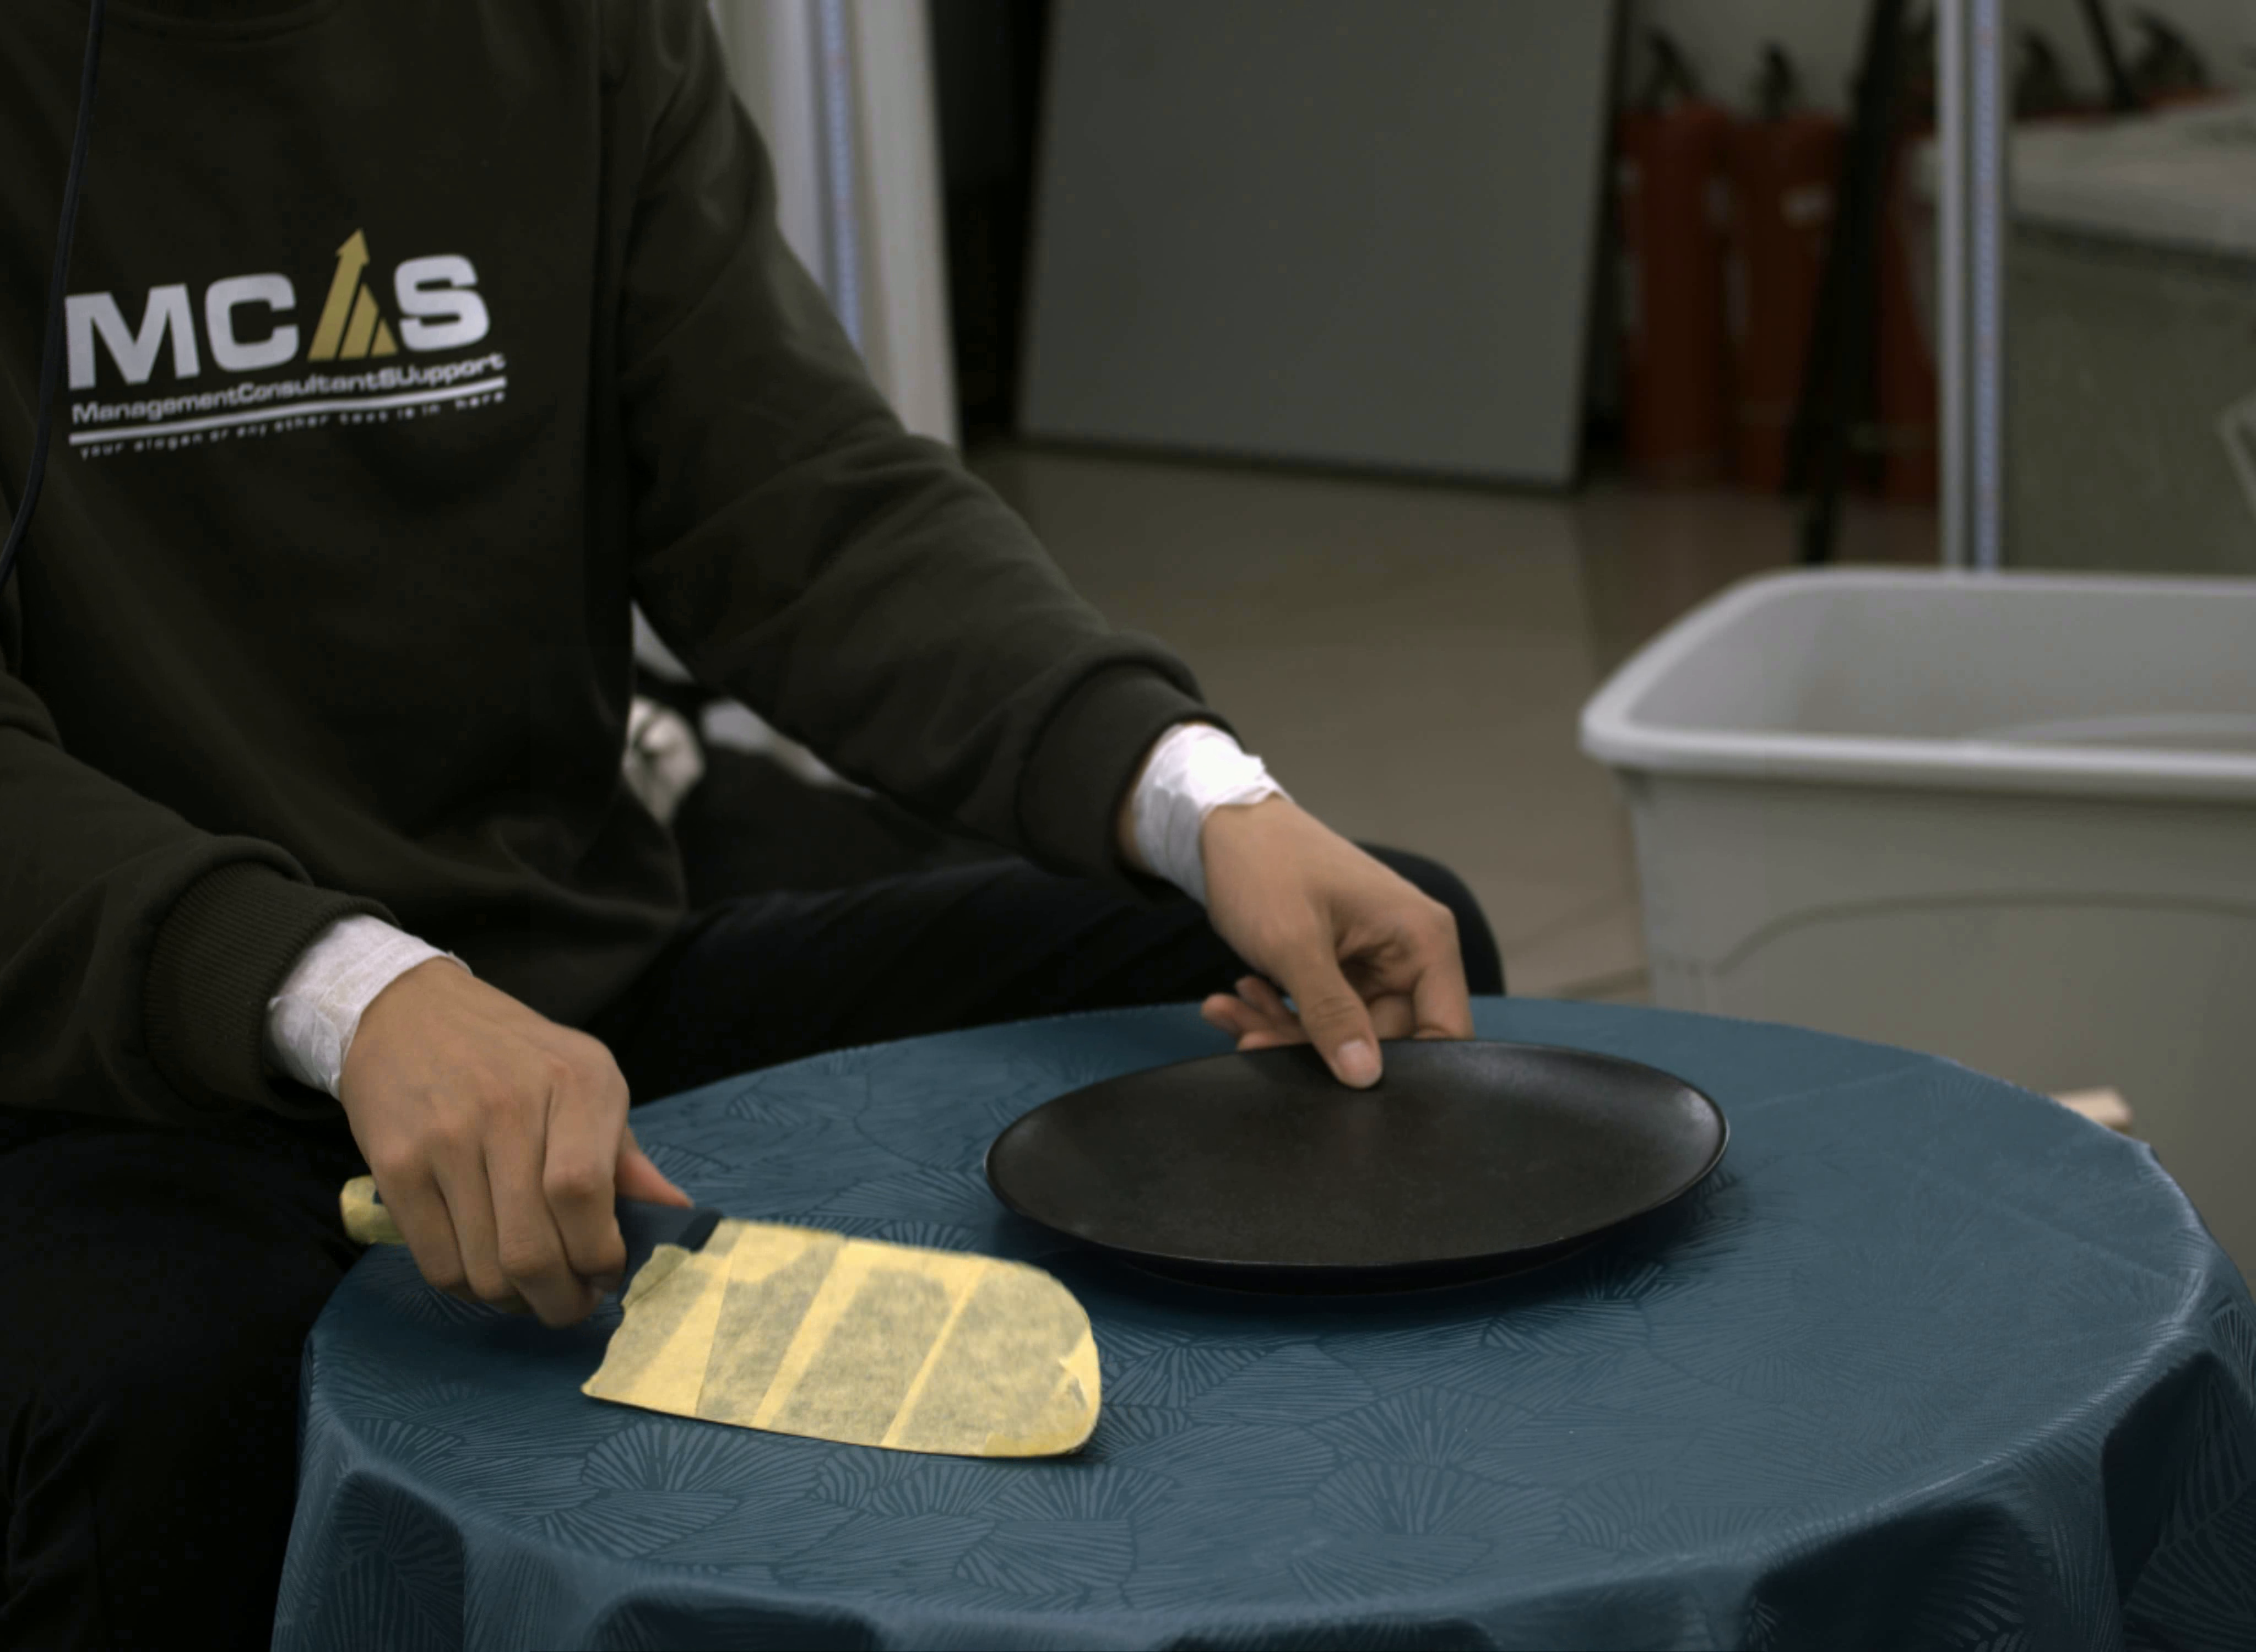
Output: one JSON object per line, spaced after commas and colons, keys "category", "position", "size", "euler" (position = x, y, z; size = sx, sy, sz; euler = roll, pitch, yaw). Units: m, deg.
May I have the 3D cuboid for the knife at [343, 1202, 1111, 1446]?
{"category": "knife", "position": [-0.127, 0.149, 1.616], "size": [0.291, 0.027, 0.080], "euler": [6, 43, 33]}

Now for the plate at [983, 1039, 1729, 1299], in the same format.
{"category": "plate", "position": [0.074, 0.113, 1.738], "size": [0.241, 0.024, 0.245], "euler": [-4, 13, 0]}
